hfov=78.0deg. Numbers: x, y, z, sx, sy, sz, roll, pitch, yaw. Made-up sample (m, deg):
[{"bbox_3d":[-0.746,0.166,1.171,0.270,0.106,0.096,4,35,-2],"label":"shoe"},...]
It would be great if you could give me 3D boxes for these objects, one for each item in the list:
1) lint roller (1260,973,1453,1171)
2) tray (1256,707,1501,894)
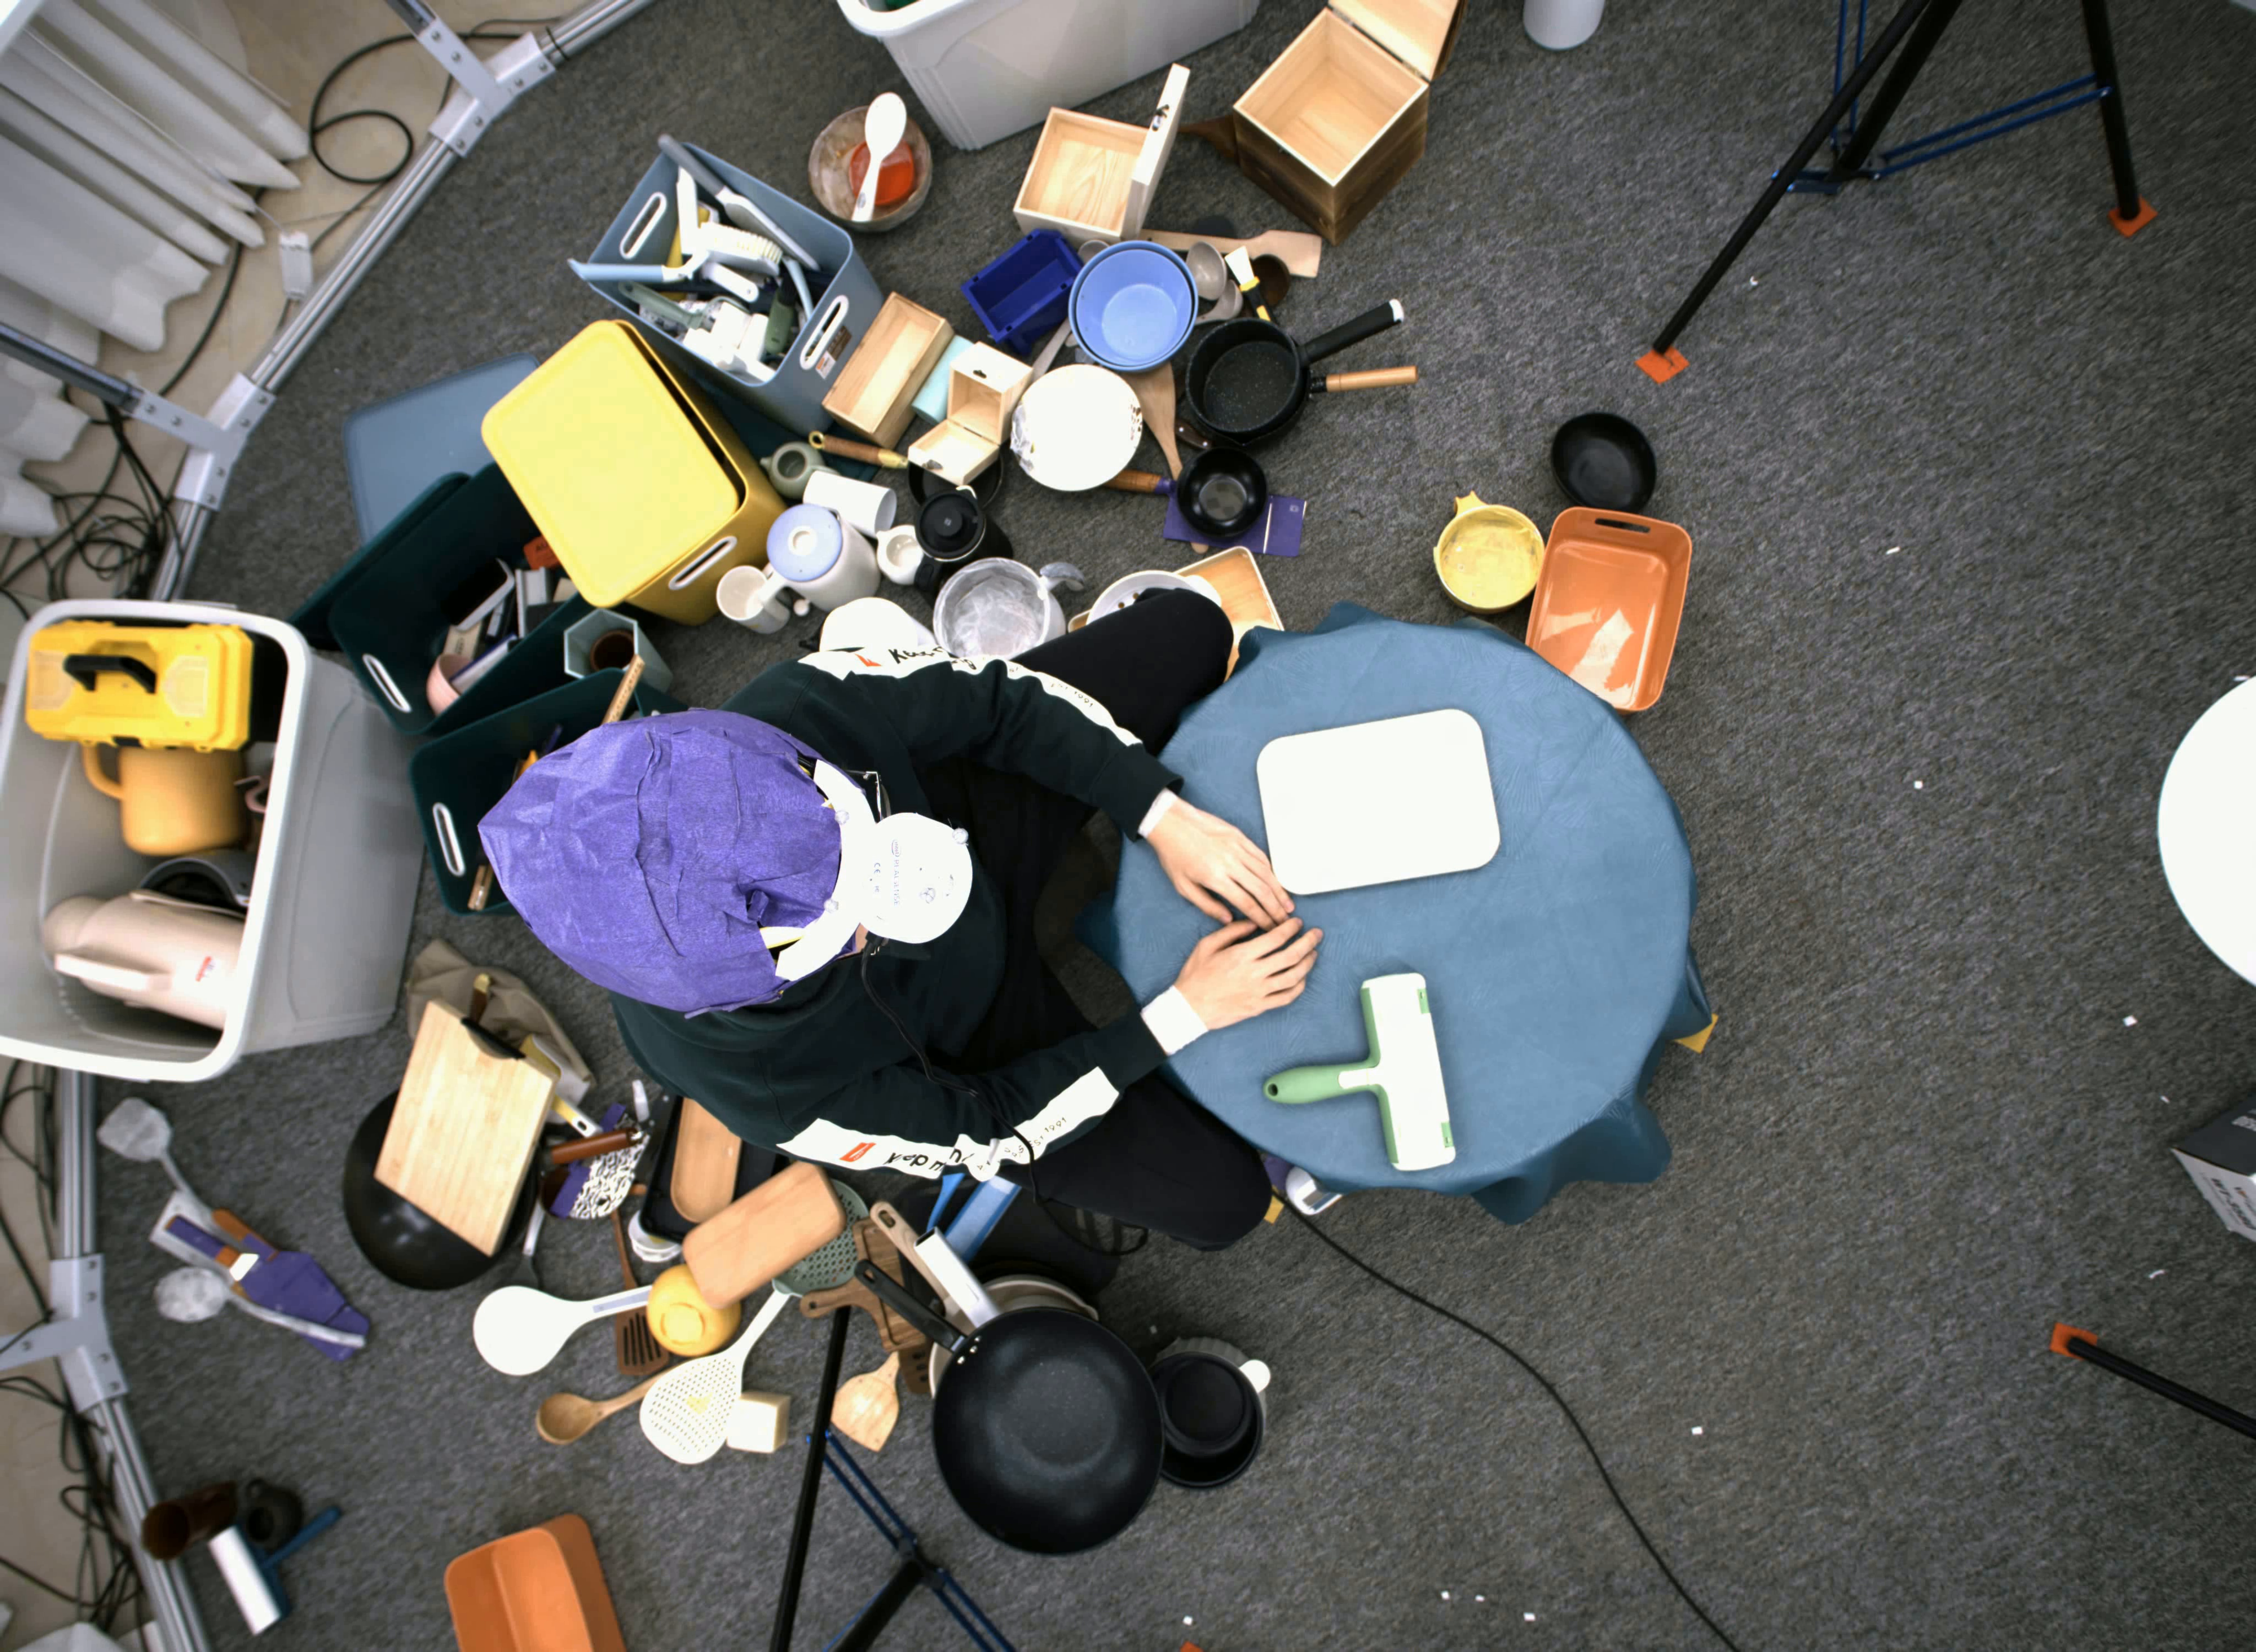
[{"bbox_3d":[0.226,0.258,1.415,0.184,0.082,0.197,-9,85,5],"label":"lint roller"},{"bbox_3d":[0.262,-0.027,1.453,0.241,0.017,0.170,-10,85,10],"label":"tray"}]
